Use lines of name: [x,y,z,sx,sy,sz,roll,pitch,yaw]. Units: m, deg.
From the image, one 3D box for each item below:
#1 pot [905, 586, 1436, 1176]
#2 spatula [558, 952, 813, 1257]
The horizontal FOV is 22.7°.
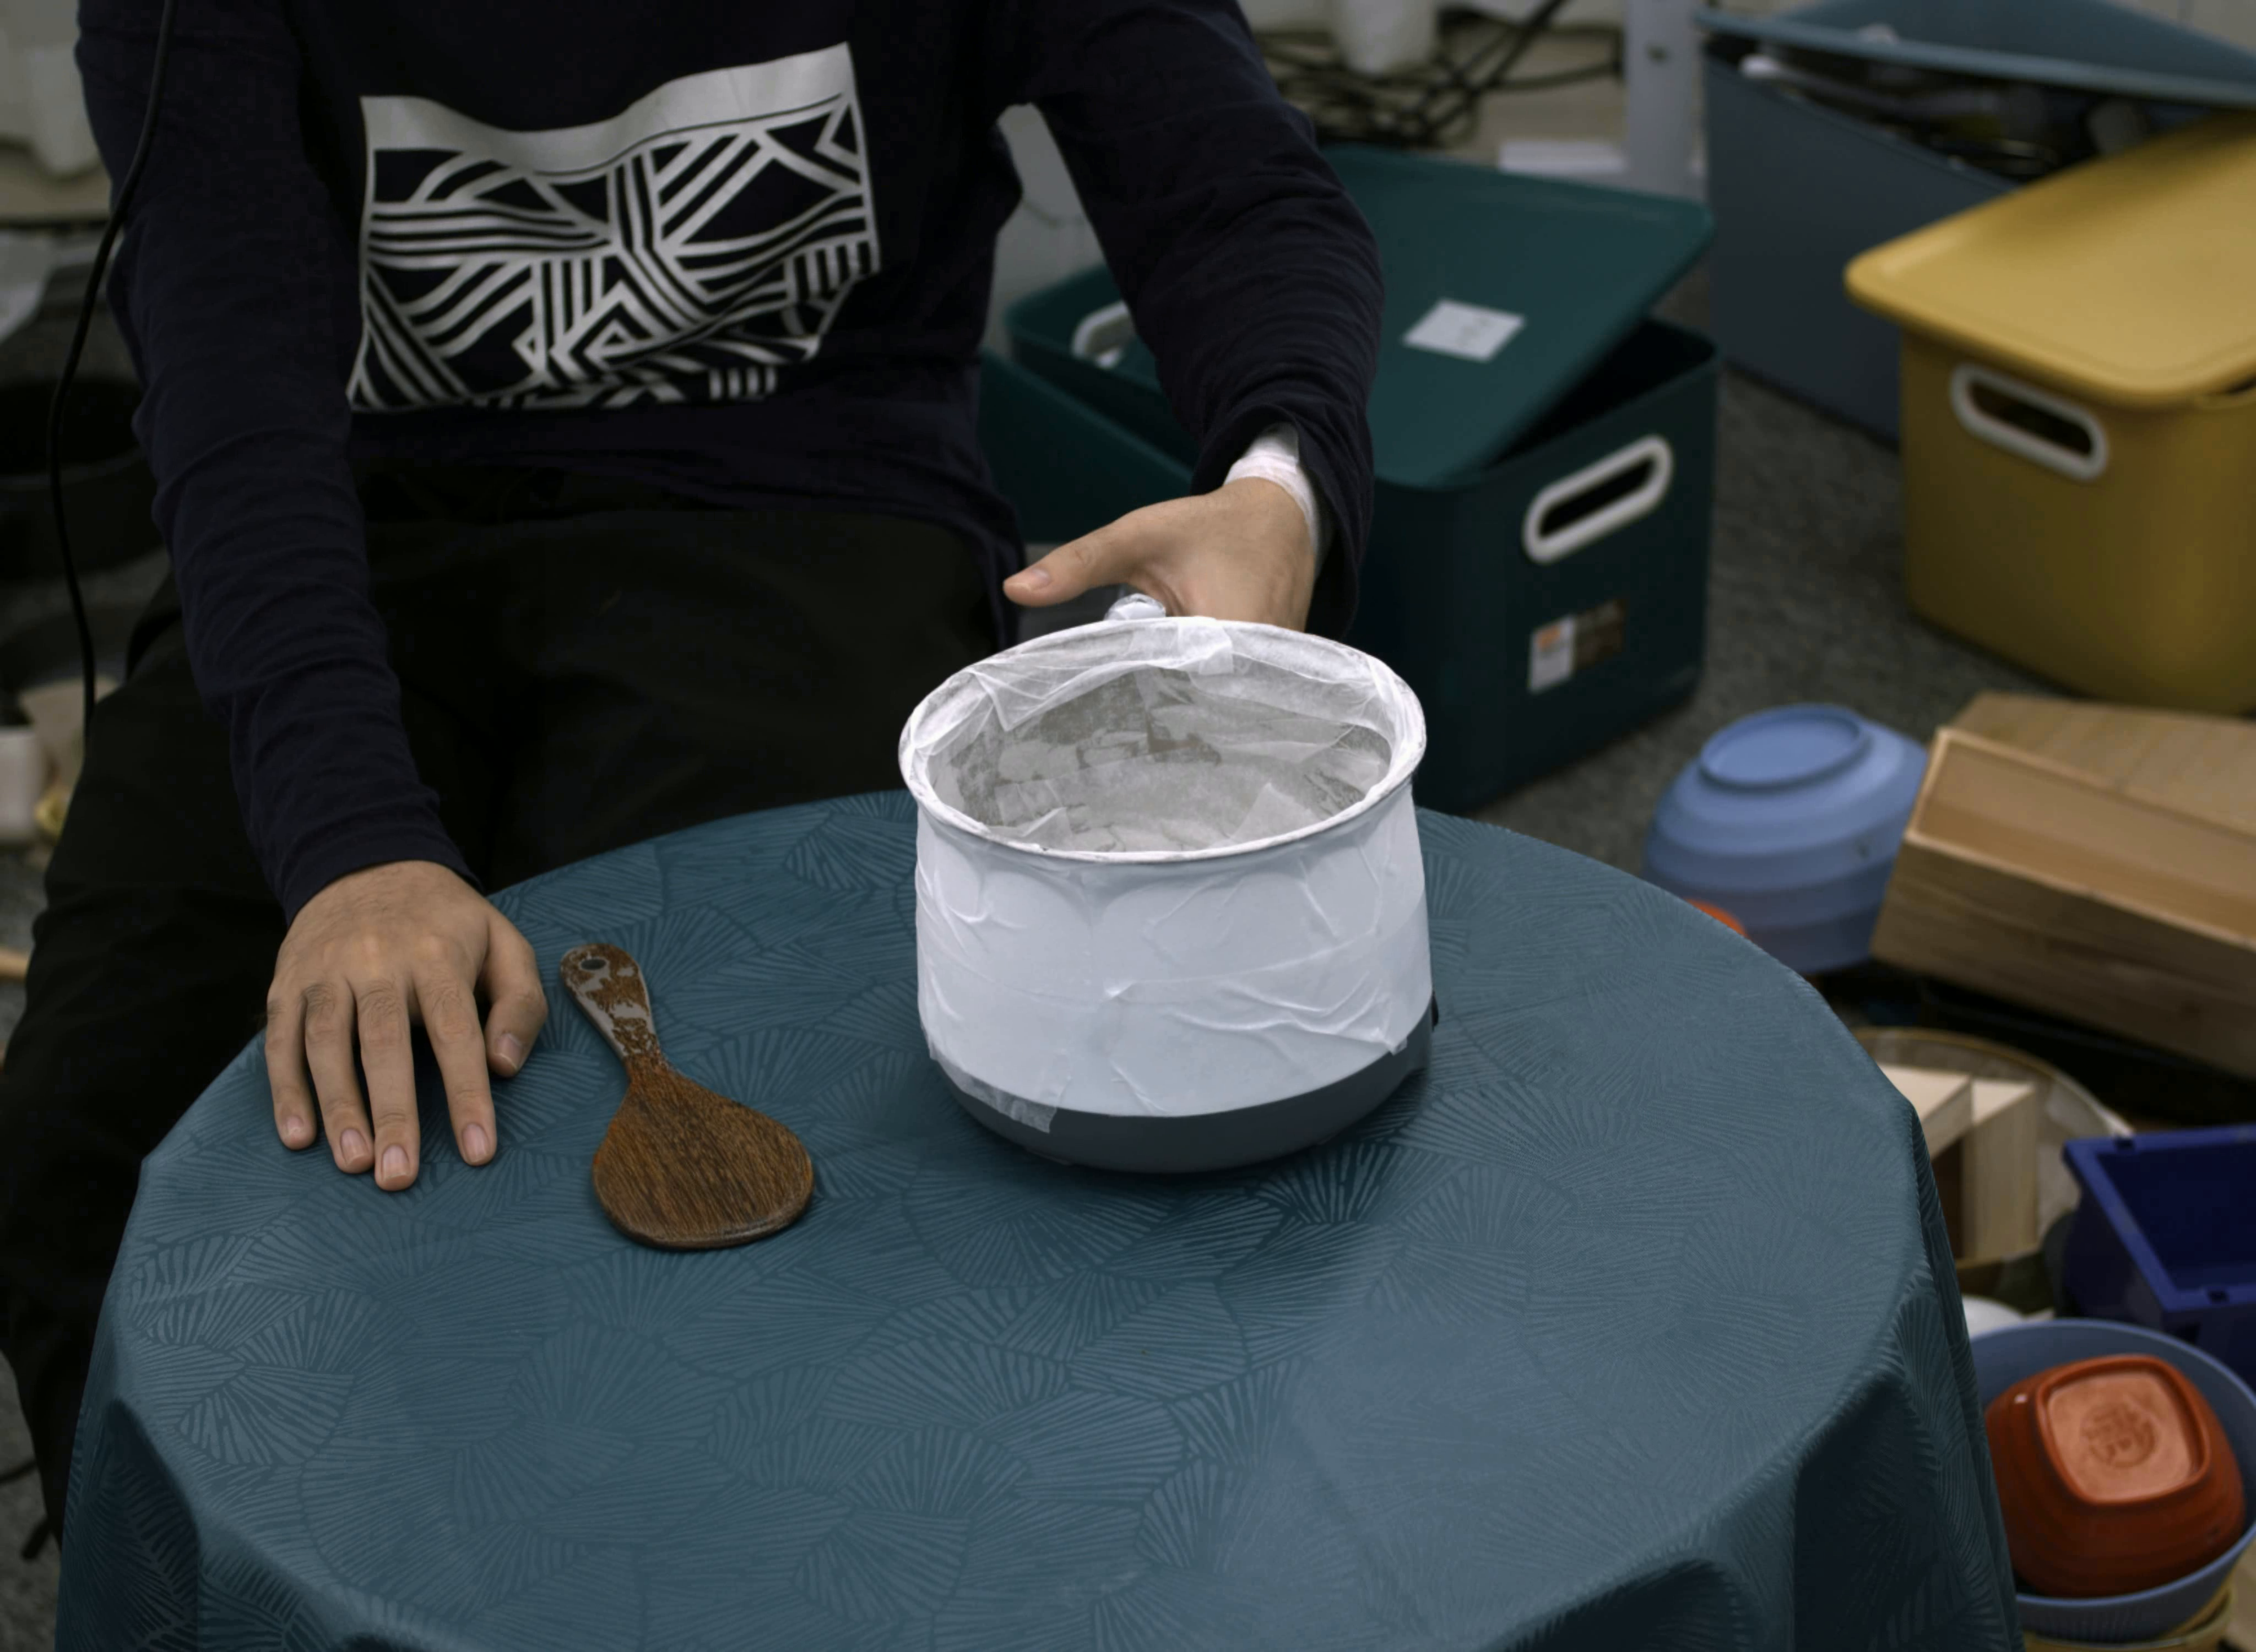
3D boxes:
pot: [0.011,0.011,1.924,0.178,0.135,0.237,-3,28,-6]
spatula: [-0.162,0.091,1.931,0.072,0.009,0.217,-9,27,-15]
